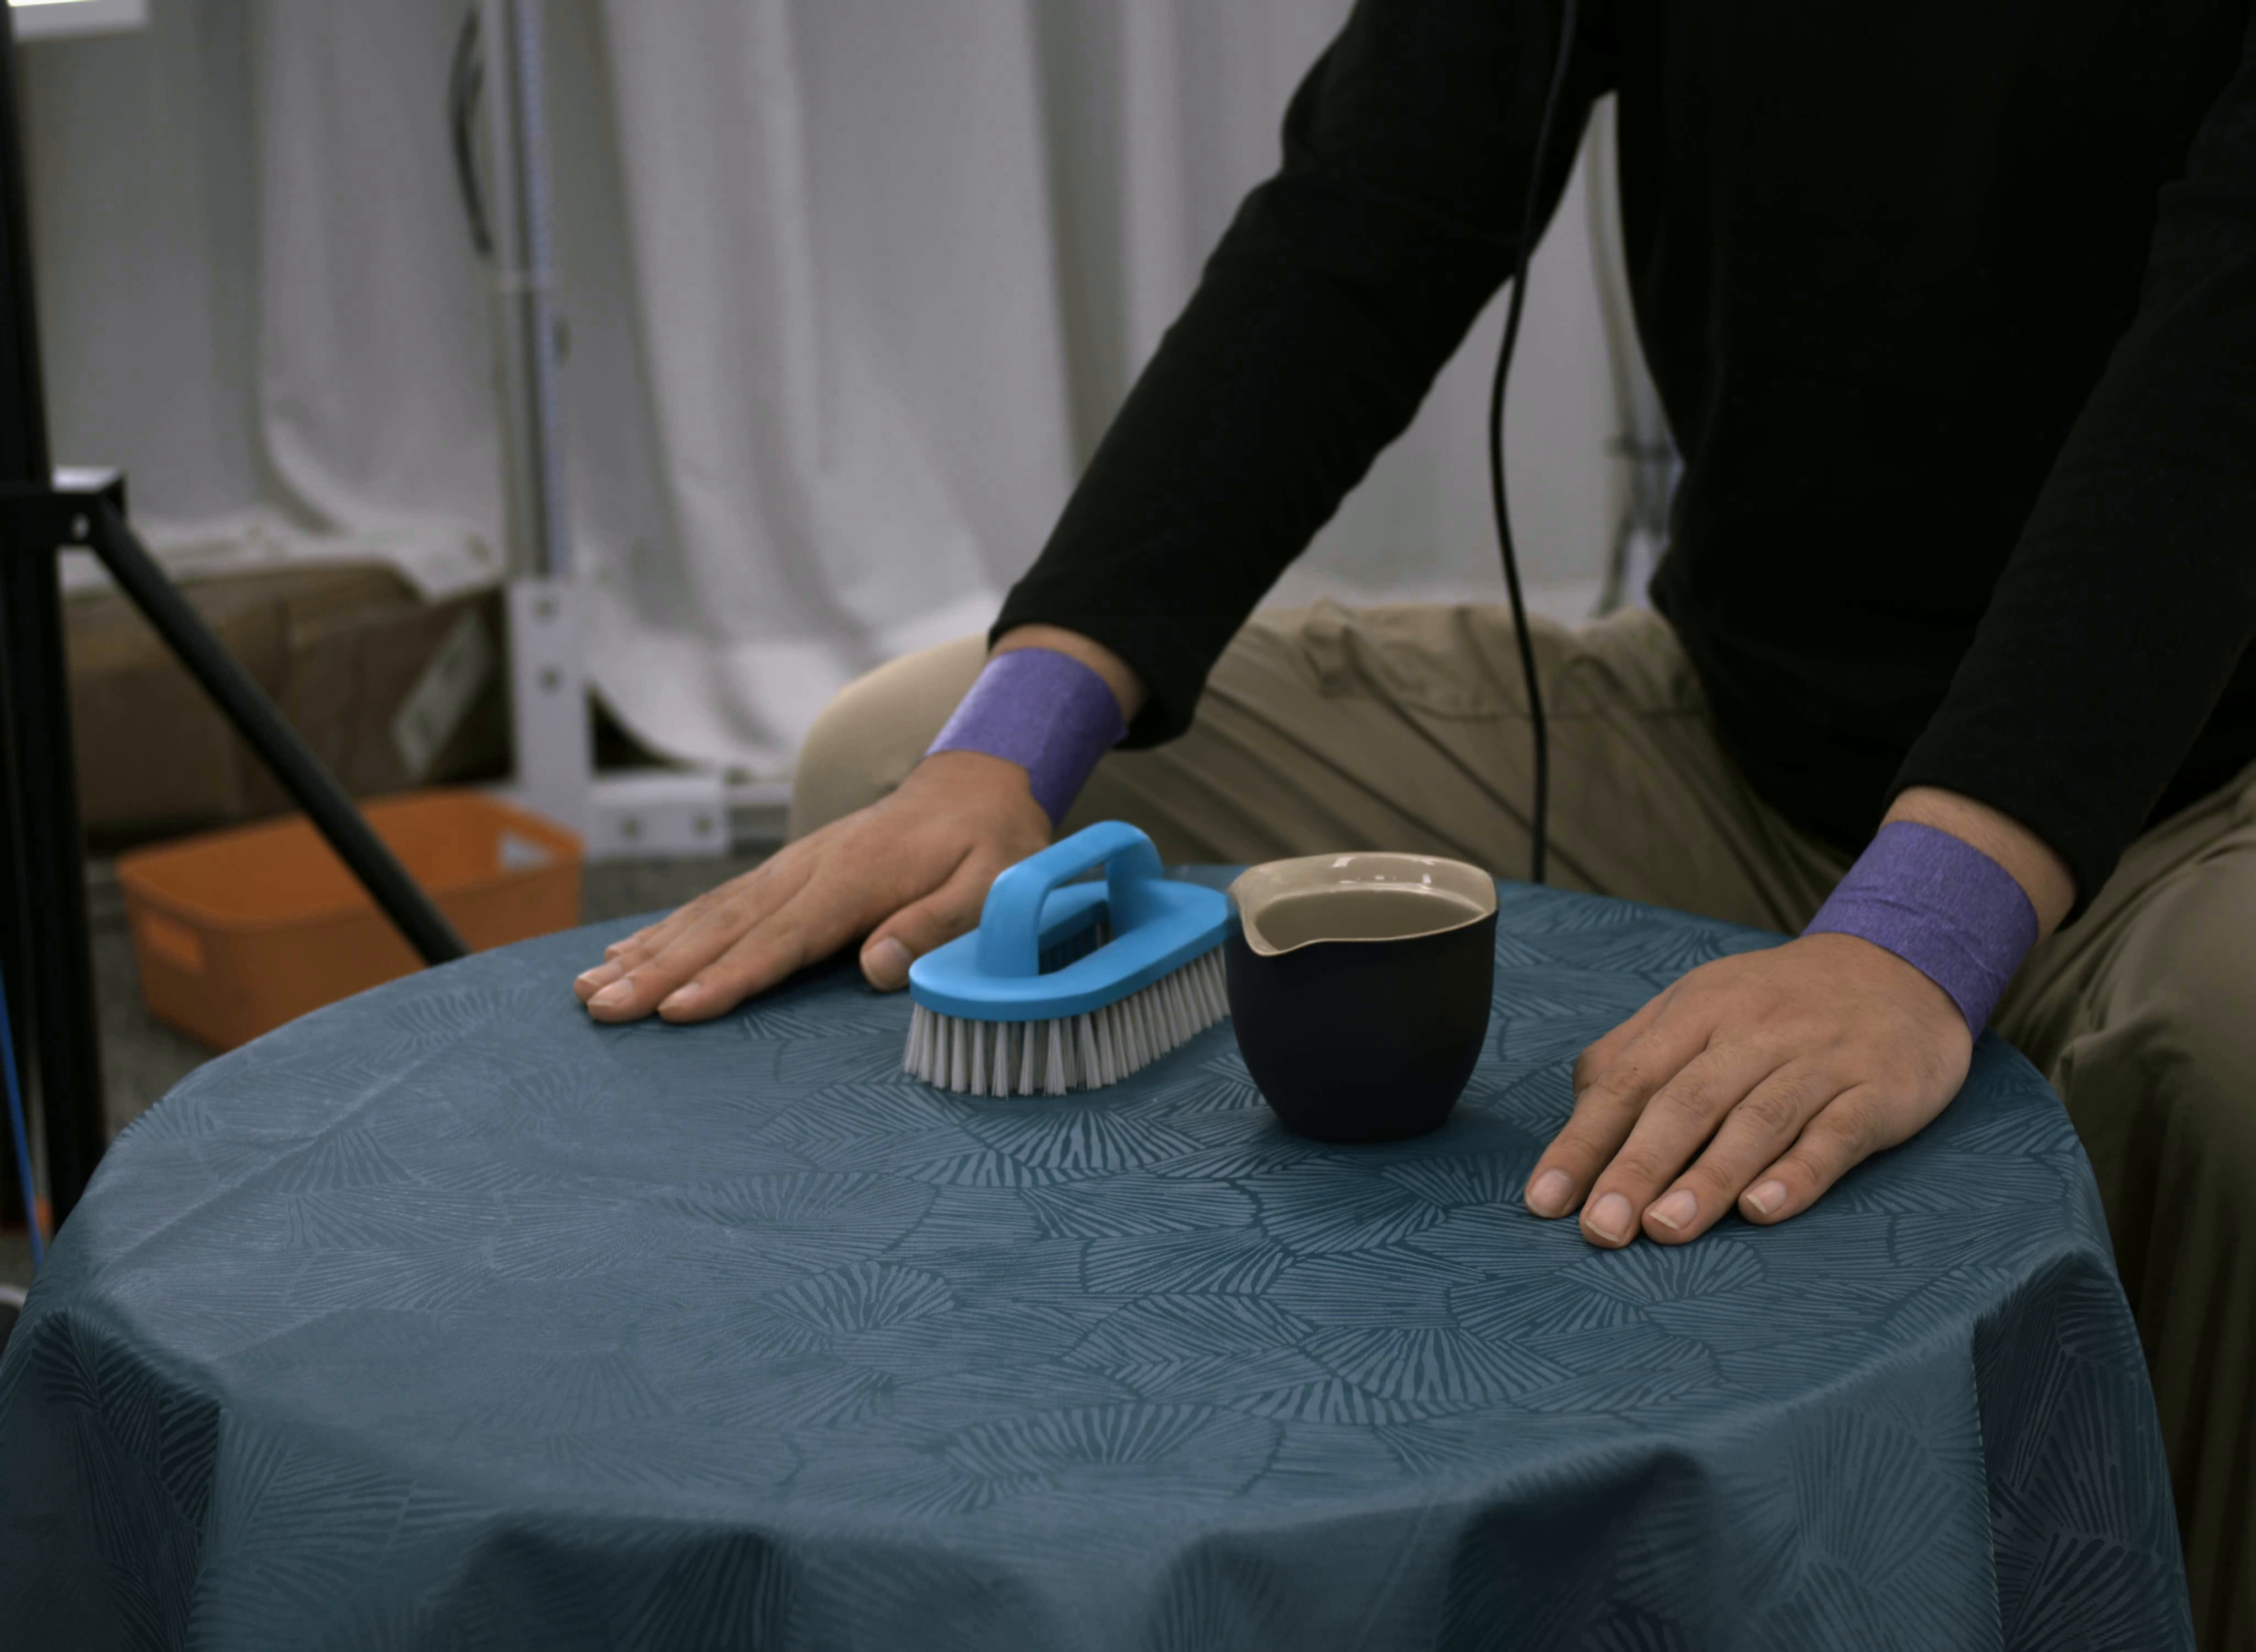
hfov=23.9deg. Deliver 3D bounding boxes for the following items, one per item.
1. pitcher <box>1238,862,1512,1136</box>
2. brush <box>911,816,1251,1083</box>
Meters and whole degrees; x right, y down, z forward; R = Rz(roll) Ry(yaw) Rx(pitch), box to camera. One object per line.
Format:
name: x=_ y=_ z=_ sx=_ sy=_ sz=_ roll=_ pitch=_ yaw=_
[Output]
pitcher: x=0.072 y=0.053 z=1.602 sx=0.085 sy=0.071 sz=0.094 roll=12 pitch=23 yaw=38
brush: x=-0.015 y=0.034 z=1.701 sx=0.086 sy=0.064 sz=0.139 roll=2 pitch=15 yaw=32
